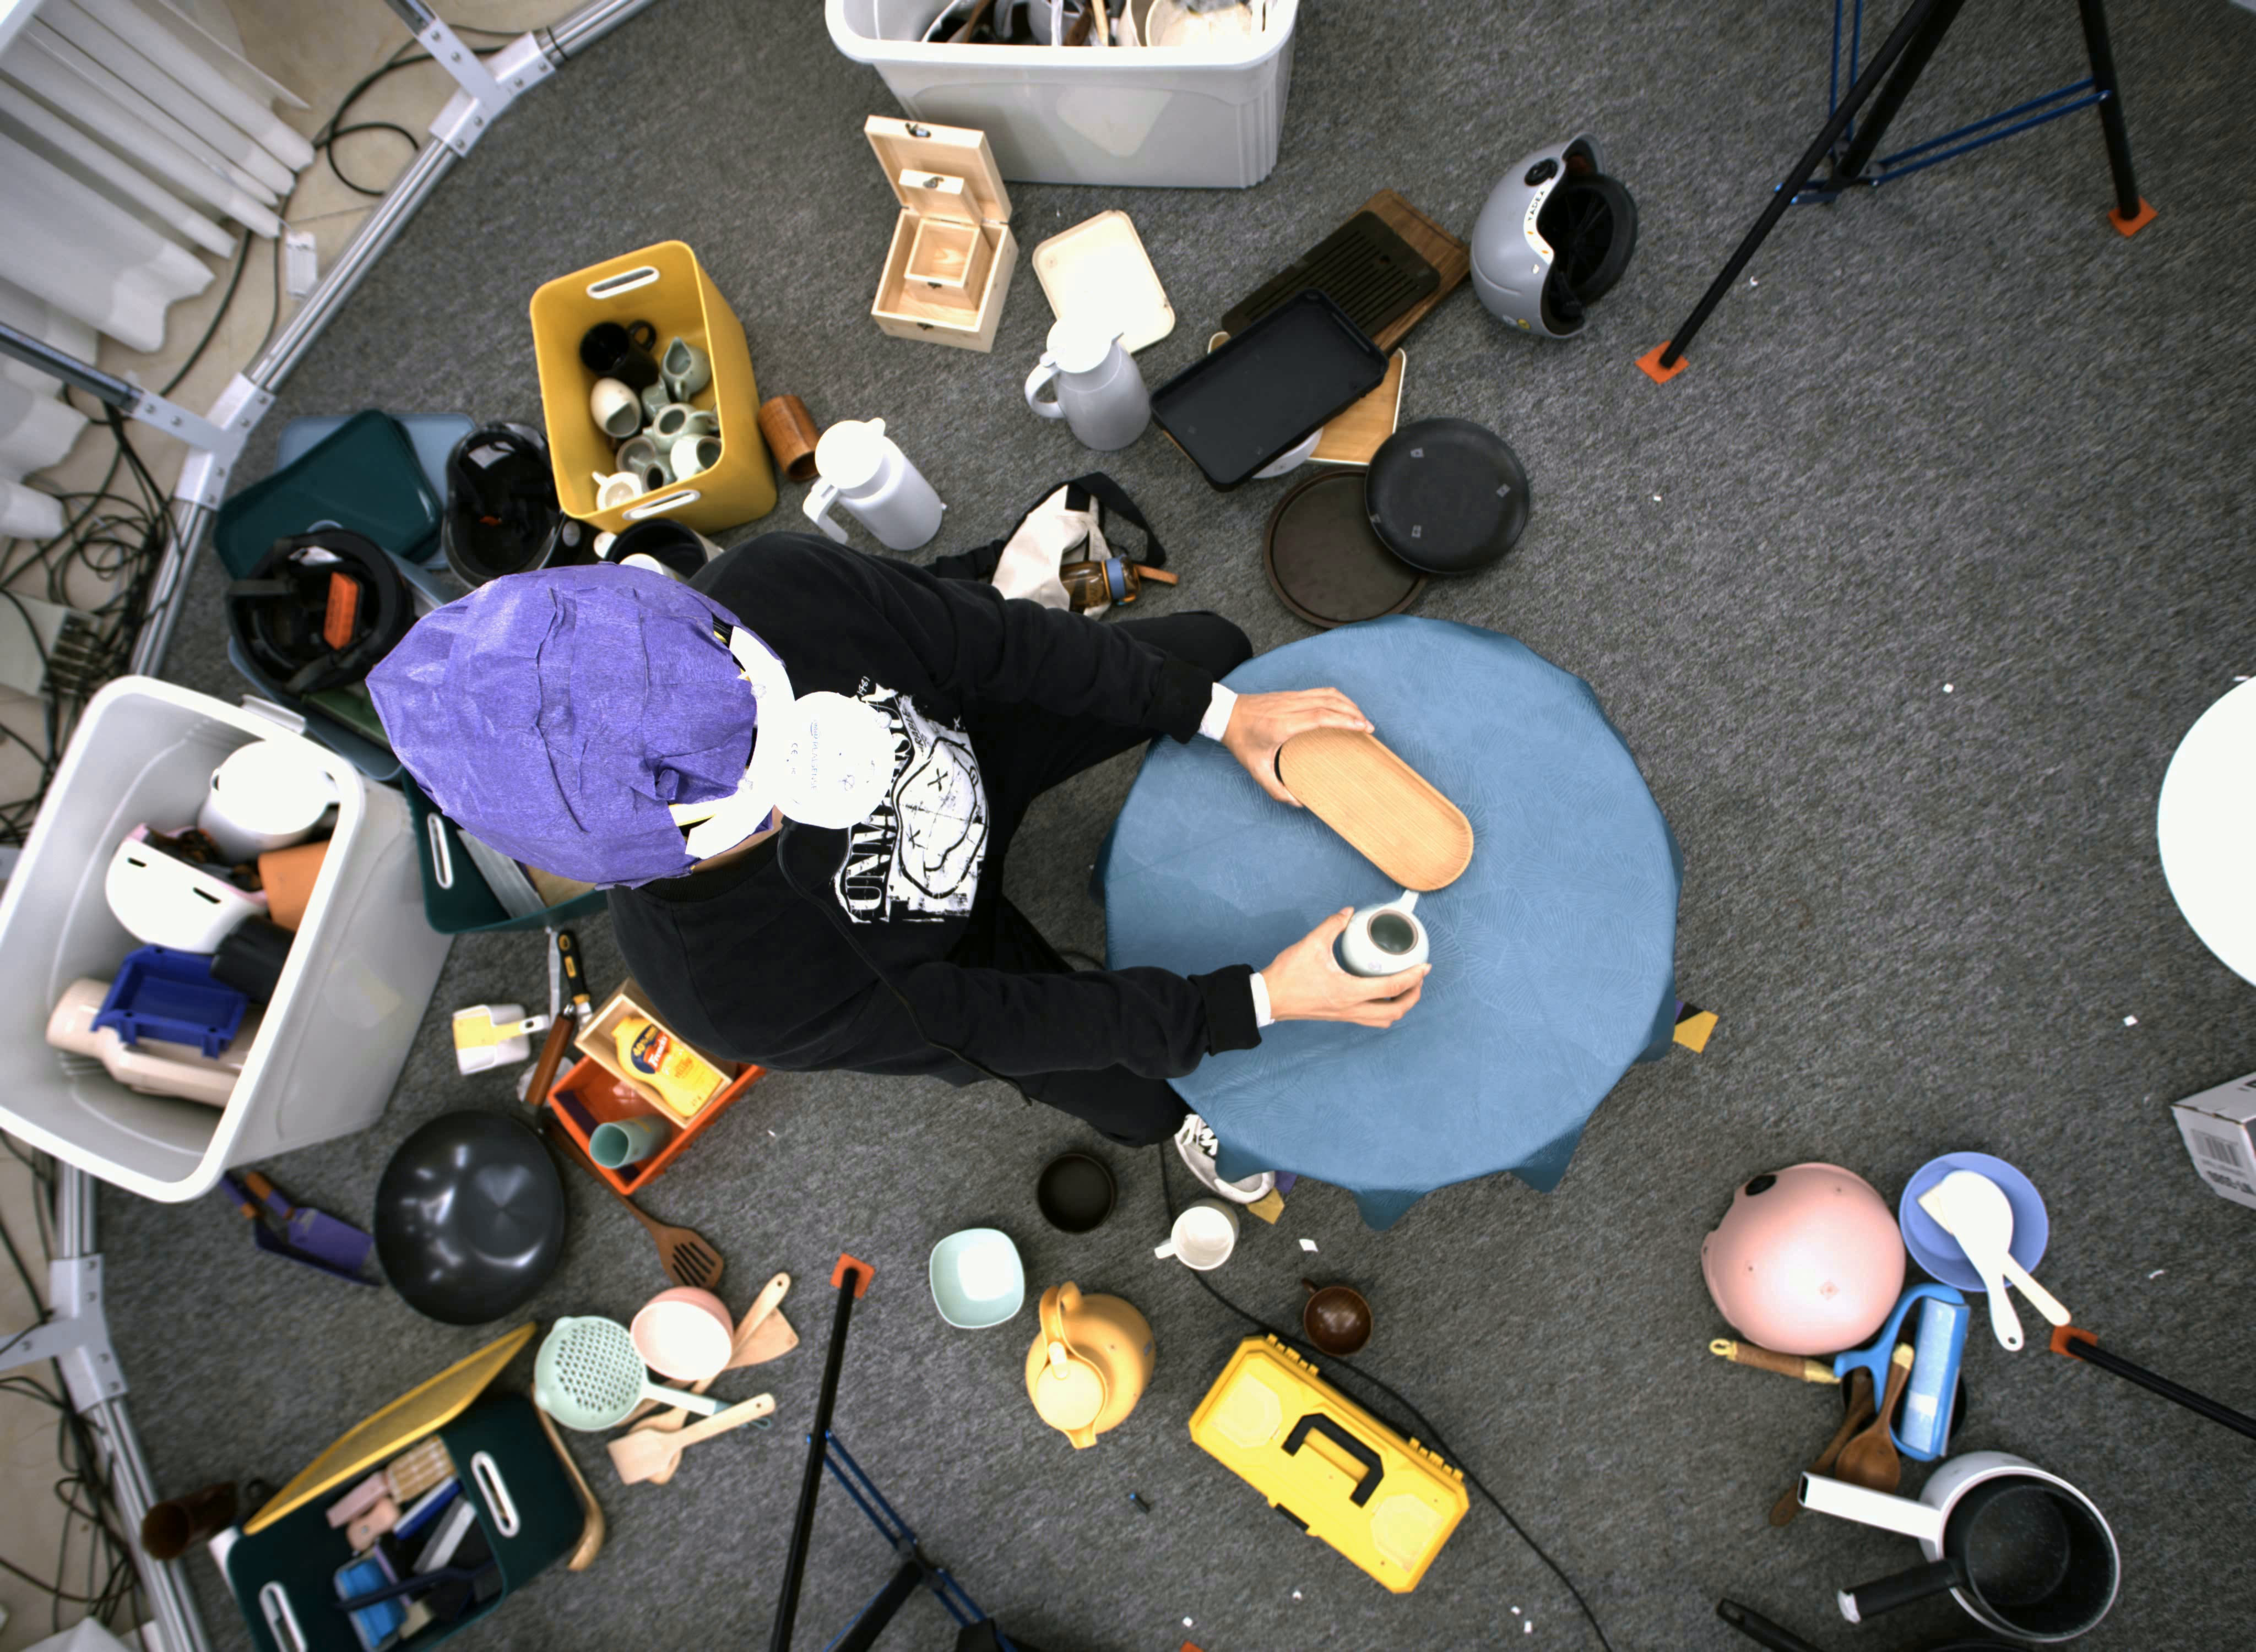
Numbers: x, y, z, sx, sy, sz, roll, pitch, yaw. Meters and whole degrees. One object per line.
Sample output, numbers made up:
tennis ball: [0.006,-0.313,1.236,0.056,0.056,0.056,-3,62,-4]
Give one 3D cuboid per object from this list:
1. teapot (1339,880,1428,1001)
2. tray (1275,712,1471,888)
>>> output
teapot: [0.255,0.120,1.377,0.088,0.076,0.140,30,57,12]
tray: [0.255,-0.028,1.433,0.231,0.020,0.103,40,107,1]
